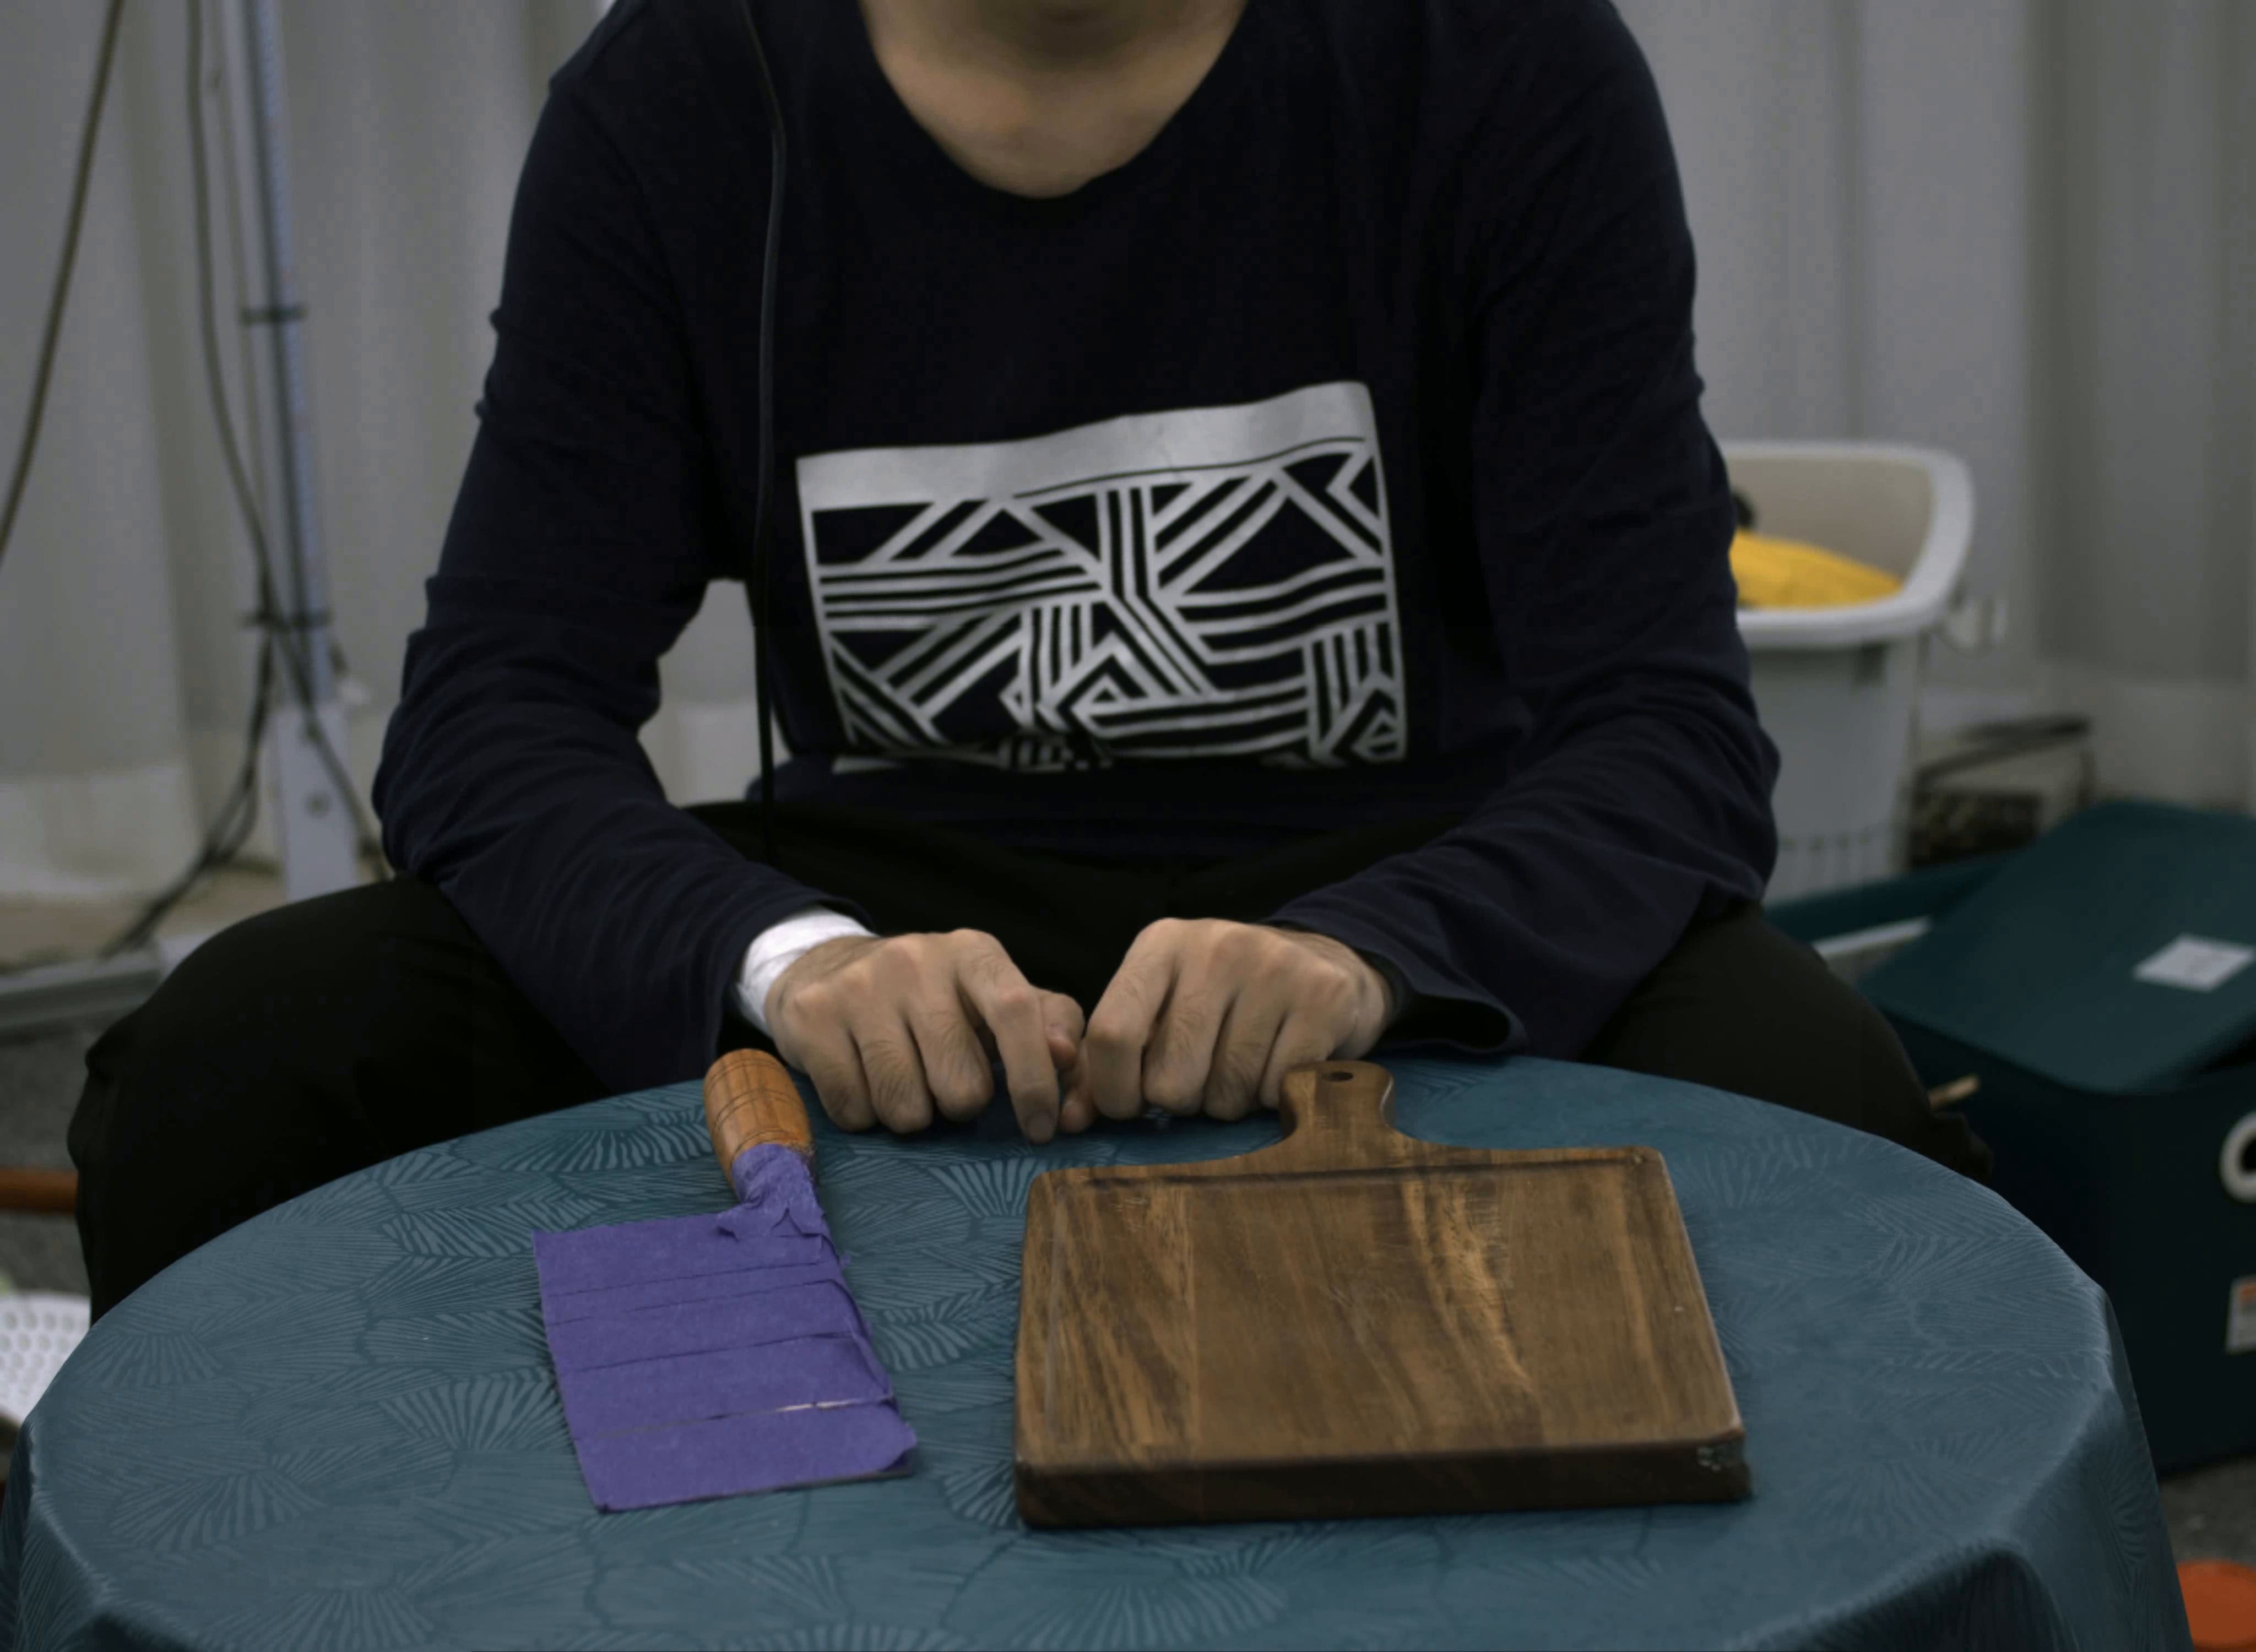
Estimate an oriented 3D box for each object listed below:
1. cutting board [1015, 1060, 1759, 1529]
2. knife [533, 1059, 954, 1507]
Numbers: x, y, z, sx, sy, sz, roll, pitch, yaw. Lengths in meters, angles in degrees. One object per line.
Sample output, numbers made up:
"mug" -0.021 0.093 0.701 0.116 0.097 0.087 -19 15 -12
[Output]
"cutting board" 0.067 0.130 1.609 0.200 0.023 0.354 -3 14 1
"knife" -0.128 0.132 1.625 0.103 0.032 0.318 -5 15 -10
